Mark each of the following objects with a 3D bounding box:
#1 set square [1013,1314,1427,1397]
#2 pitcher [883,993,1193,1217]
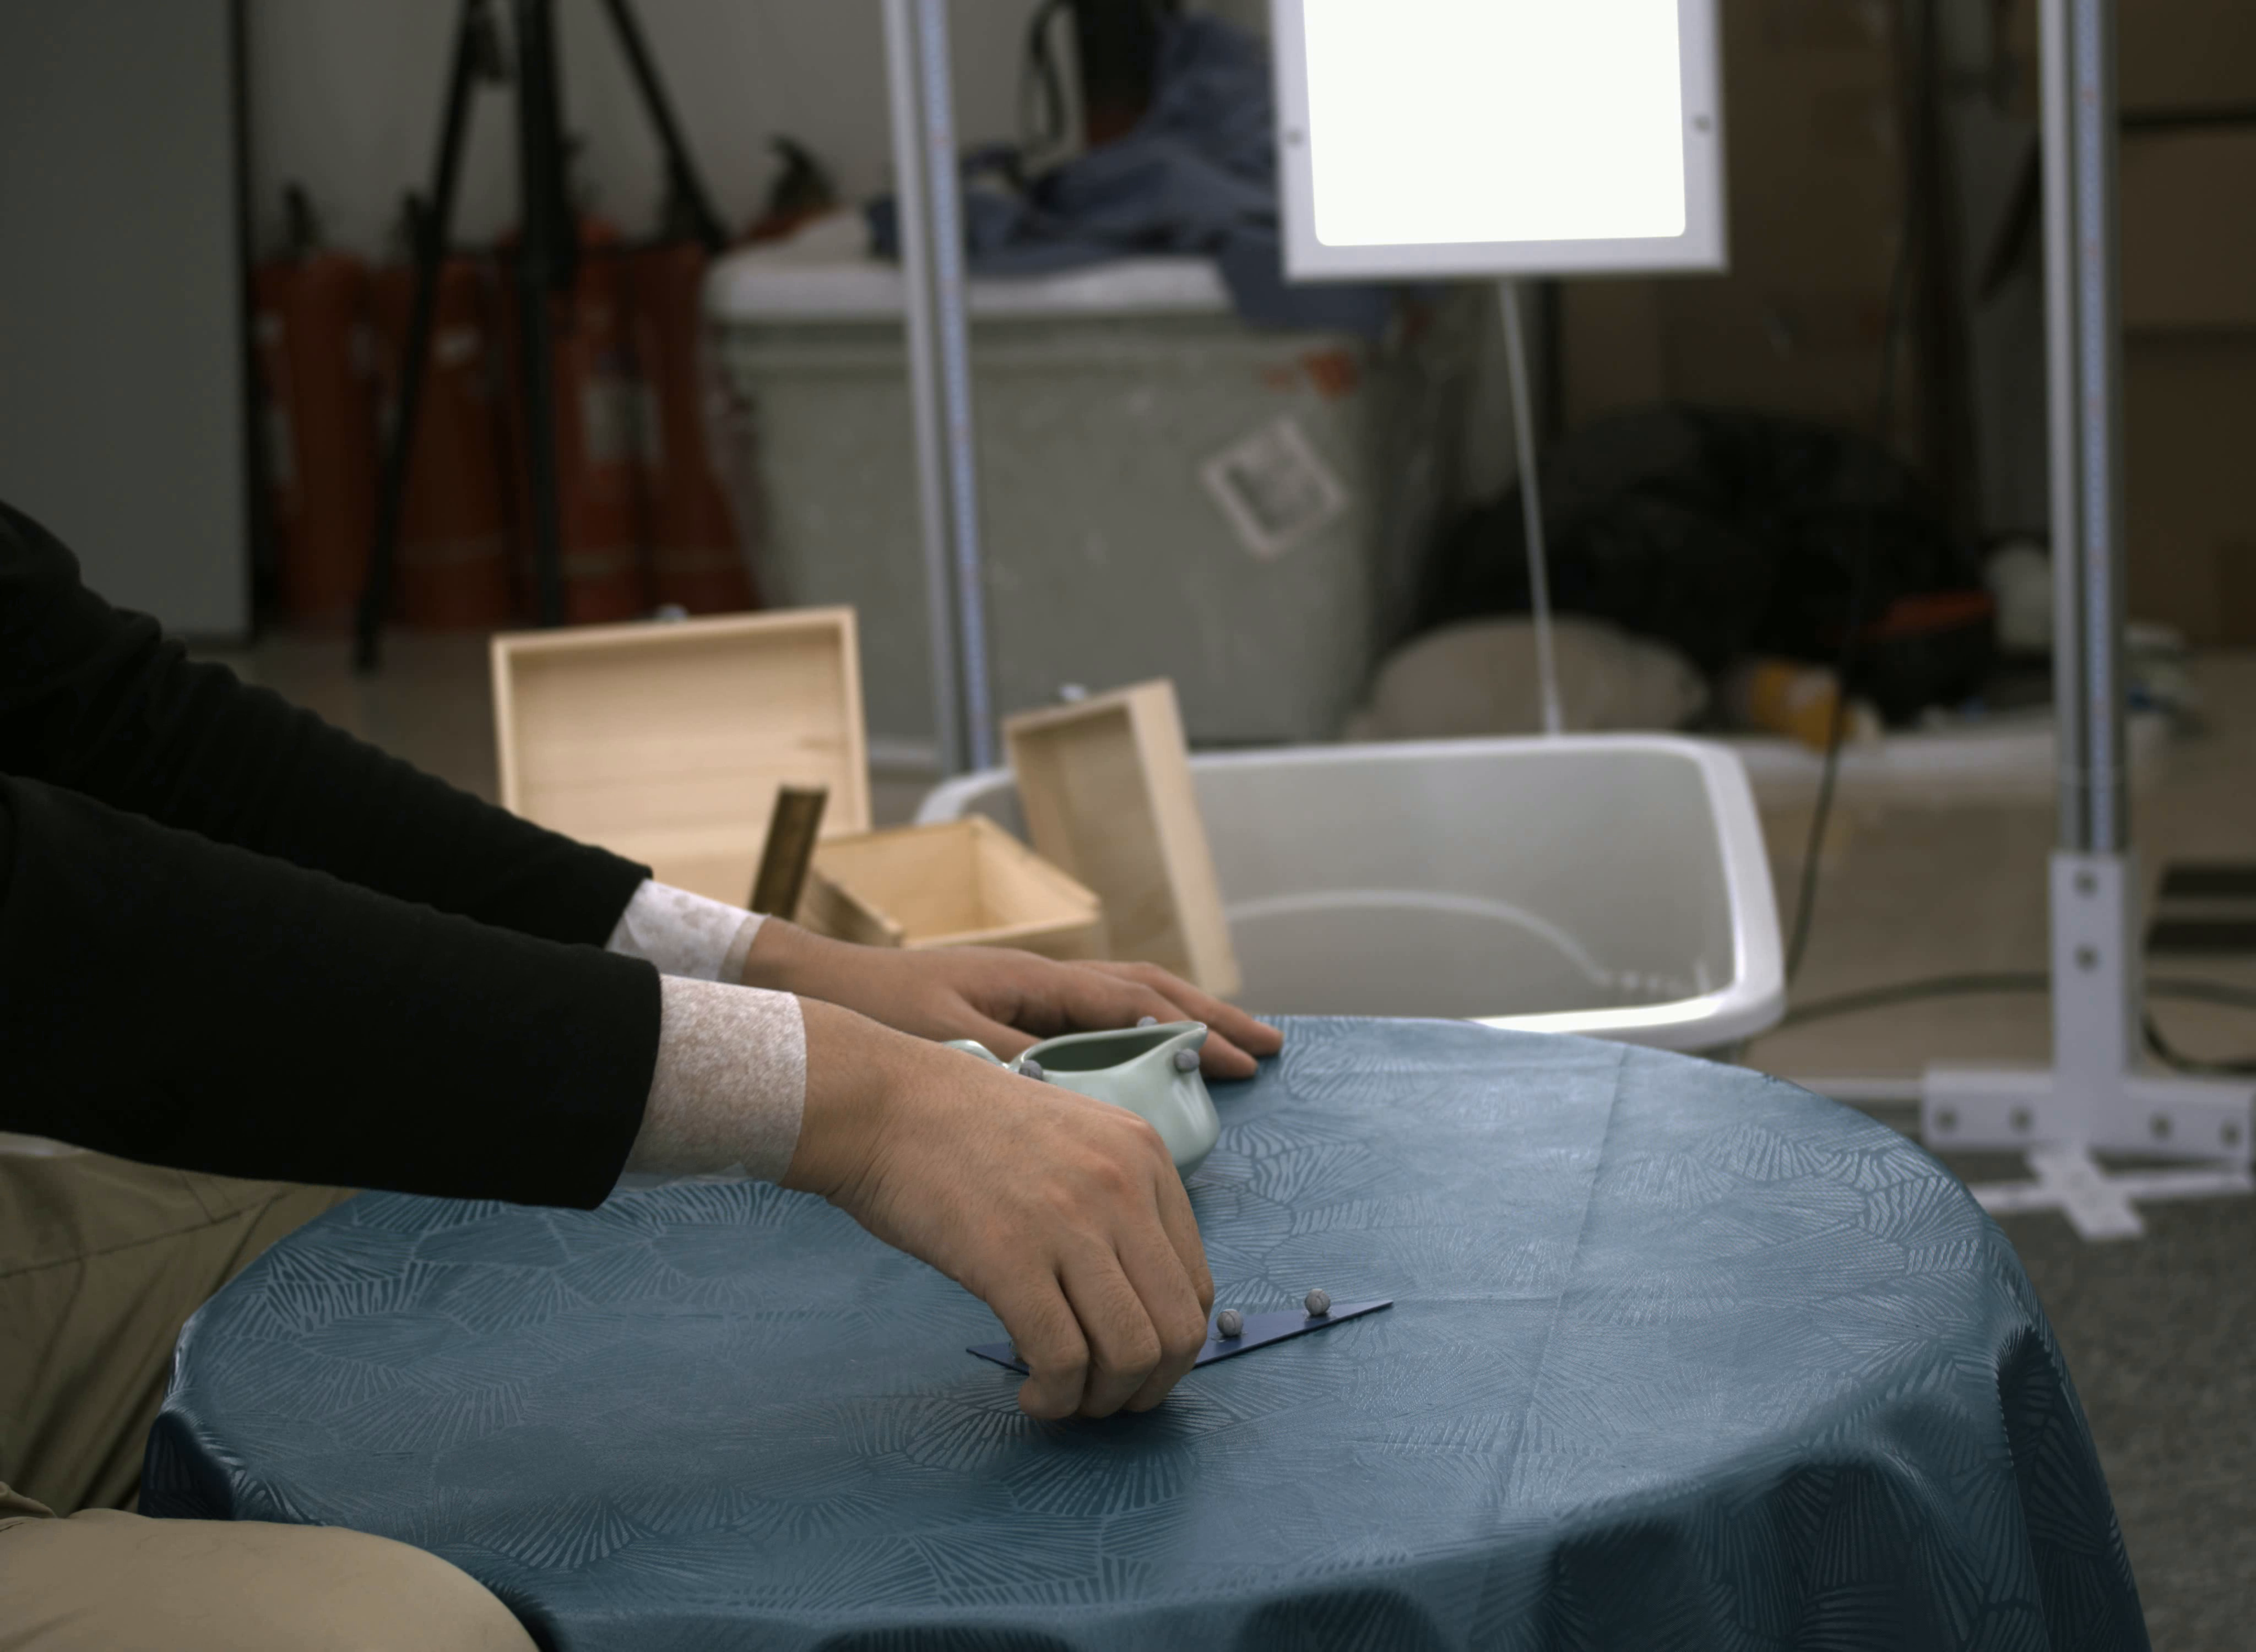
[{"bbox_3d":[0.031,0.165,1.721,0.131,0.006,0.061,-5,12,-1],"label":"set square"},{"bbox_3d":[-0.034,0.095,1.896,0.108,0.061,0.085,14,26,6],"label":"pitcher"}]
